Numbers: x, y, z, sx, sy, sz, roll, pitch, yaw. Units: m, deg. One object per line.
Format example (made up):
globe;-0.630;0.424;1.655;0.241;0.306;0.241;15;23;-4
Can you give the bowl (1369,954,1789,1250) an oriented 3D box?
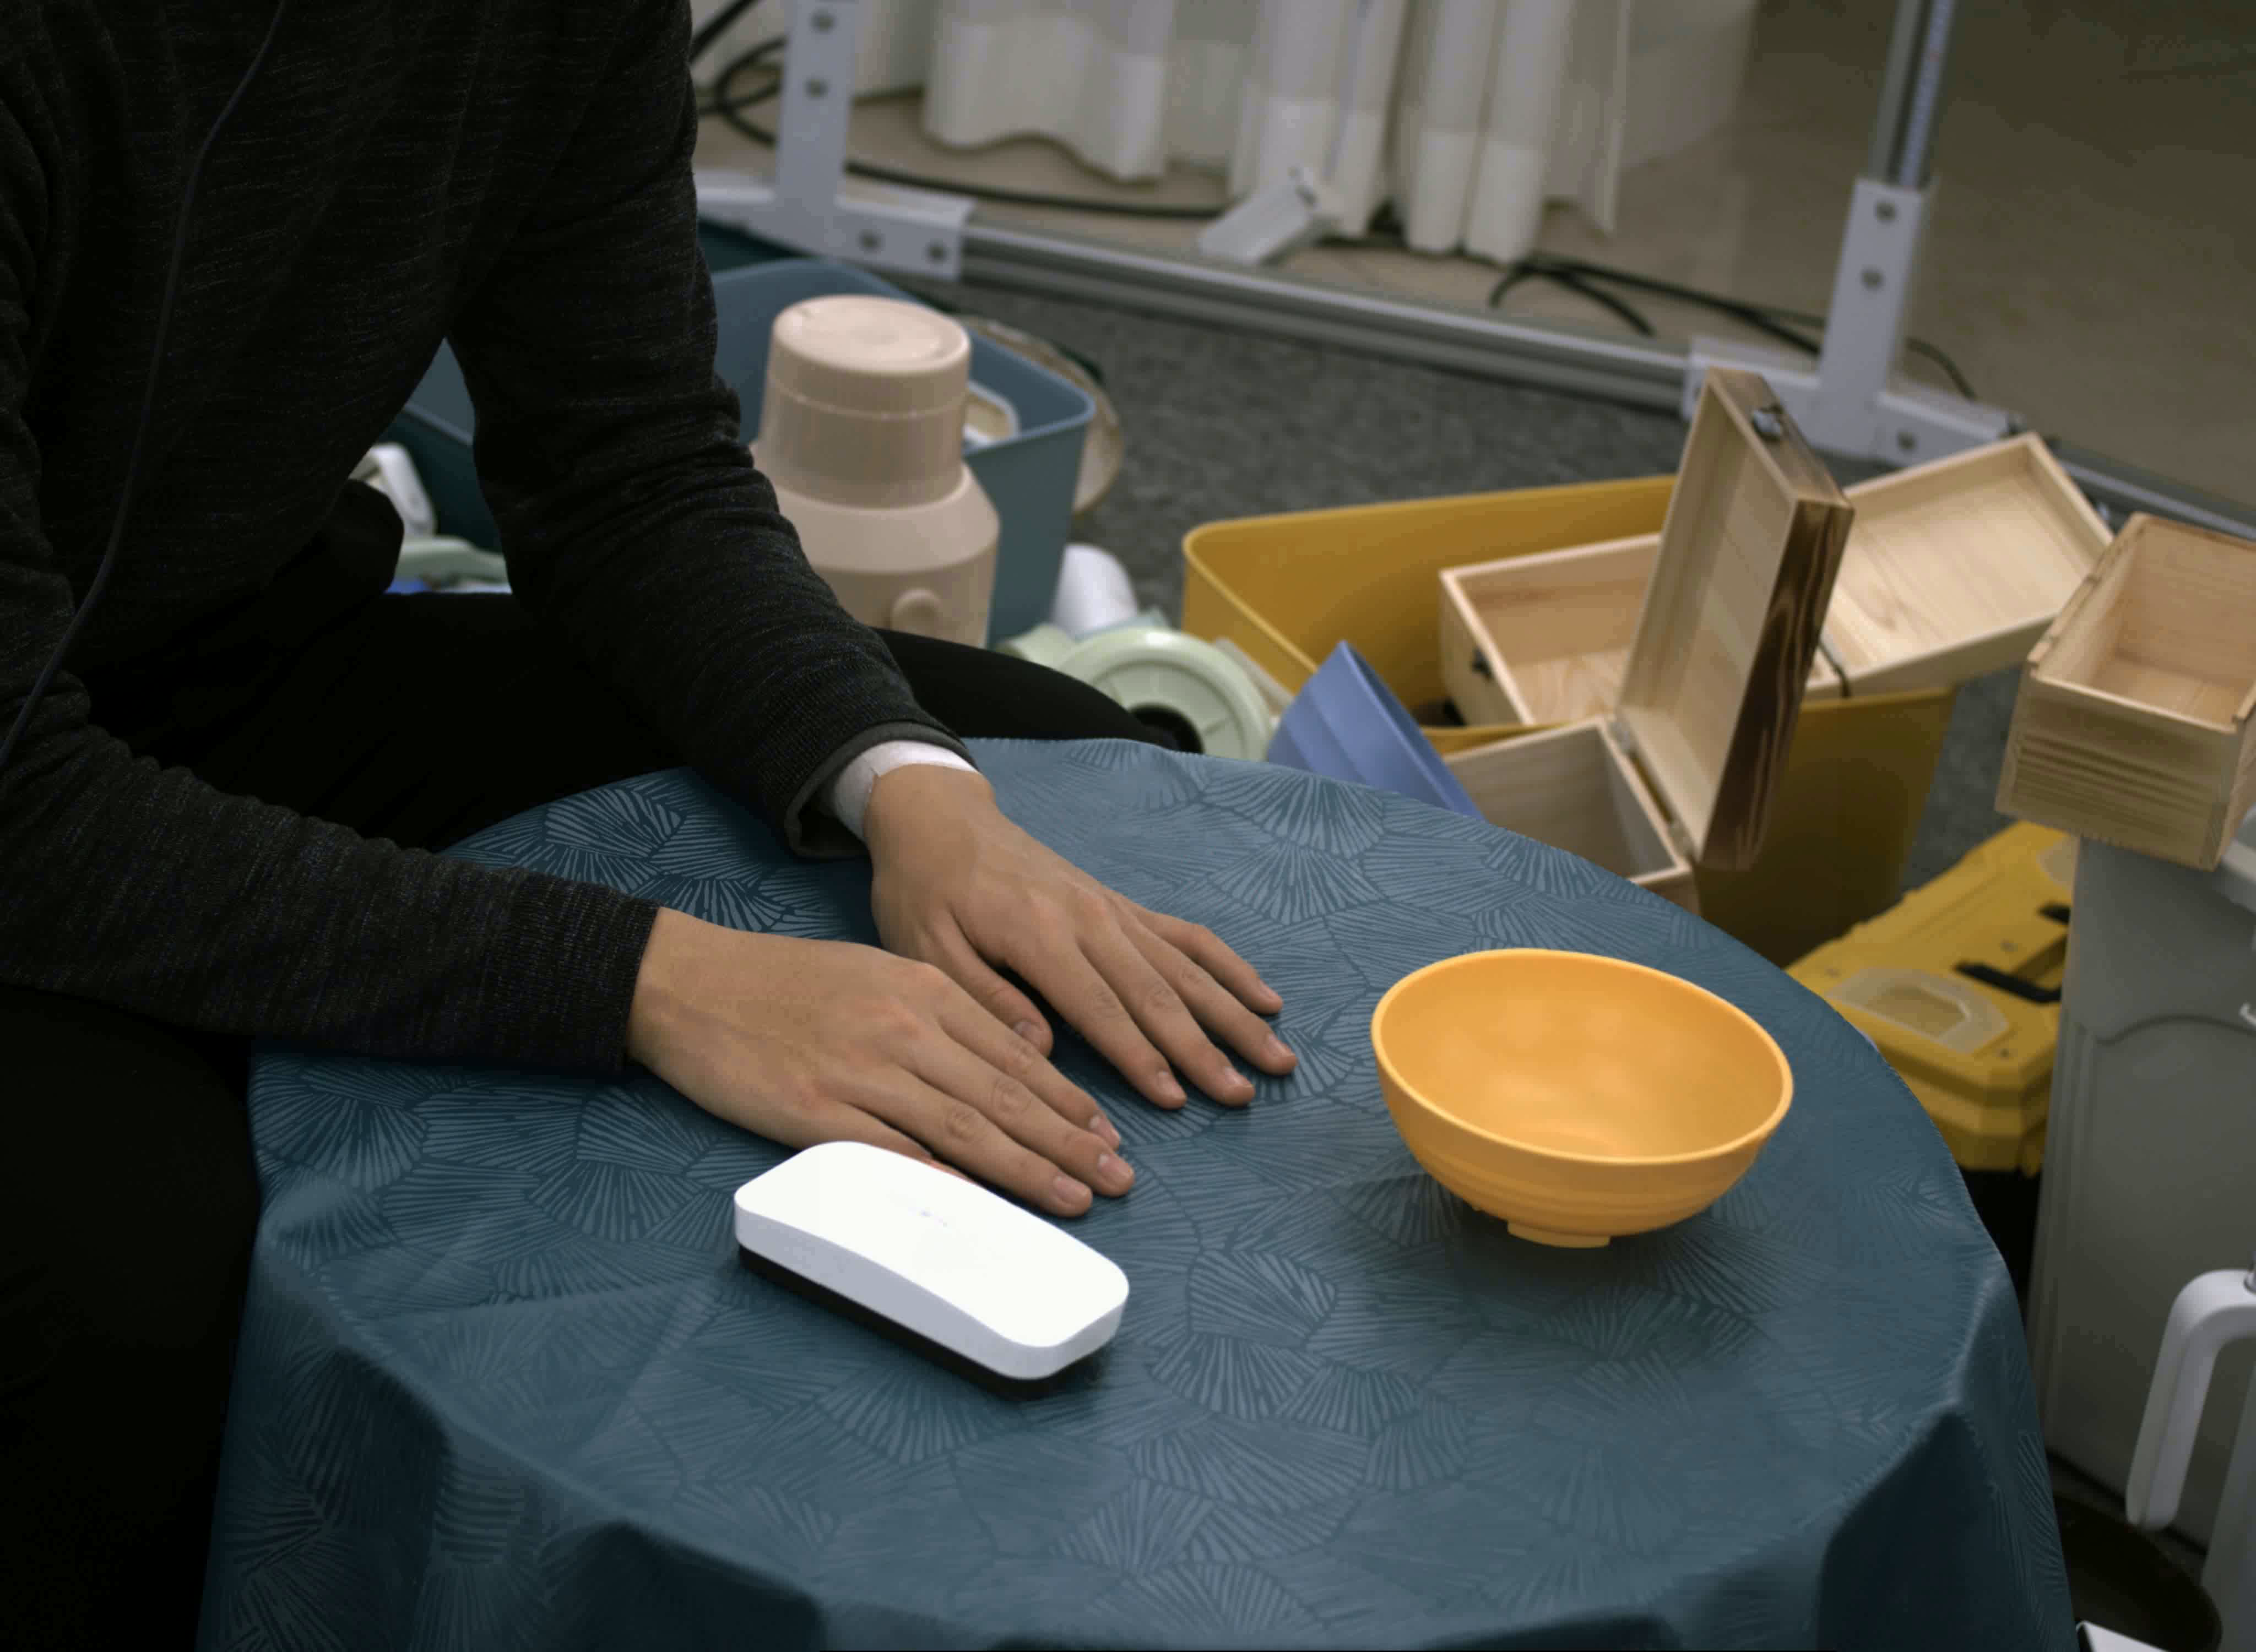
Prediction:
bowl;0.149;0.102;1.813;0.145;0.060;0.146;6;25;-3

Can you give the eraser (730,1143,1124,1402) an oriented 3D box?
eraser;-0.065;0.140;1.720;0.132;0.034;0.063;24;31;30
